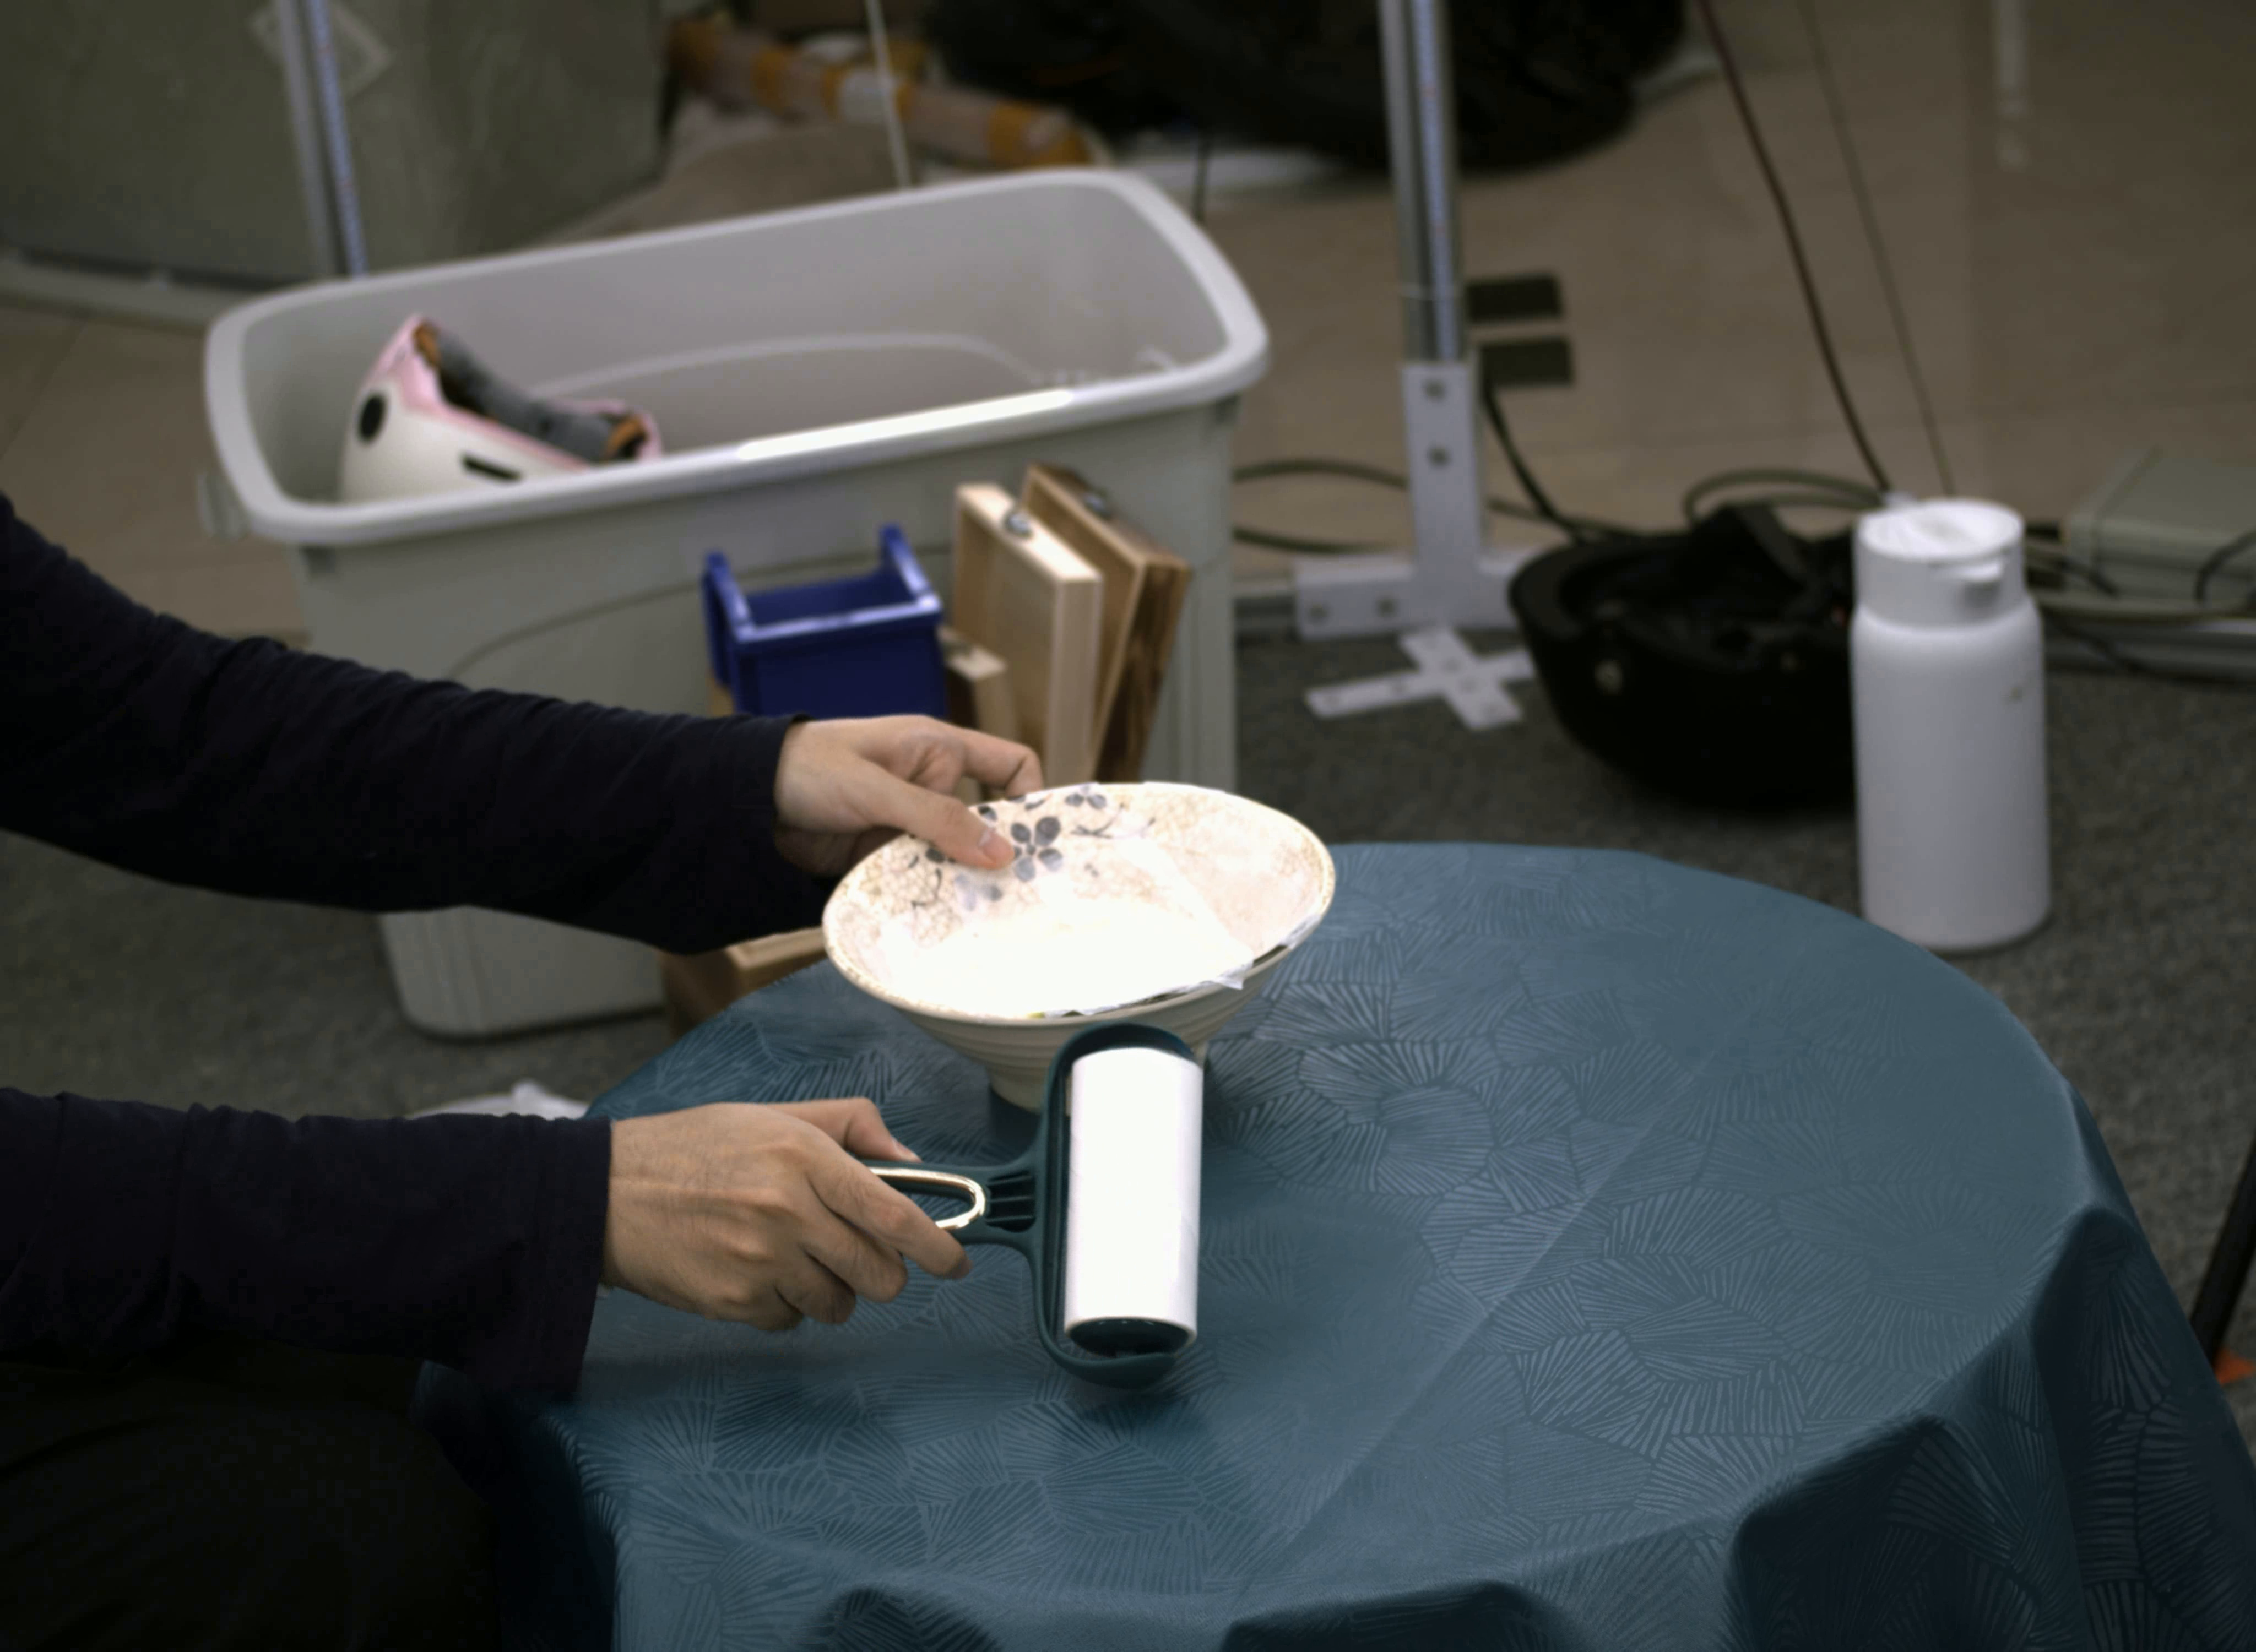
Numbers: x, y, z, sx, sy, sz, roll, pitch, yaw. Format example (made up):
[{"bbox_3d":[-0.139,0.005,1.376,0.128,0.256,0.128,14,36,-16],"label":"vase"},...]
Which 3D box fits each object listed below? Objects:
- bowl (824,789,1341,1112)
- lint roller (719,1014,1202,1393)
[{"bbox_3d":[-0.014,0.060,2.229,0.203,0.079,0.201,-6,25,3],"label":"bowl"},{"bbox_3d":[-0.063,0.138,2.033,0.180,0.049,0.133,-2,69,9],"label":"lint roller"}]
